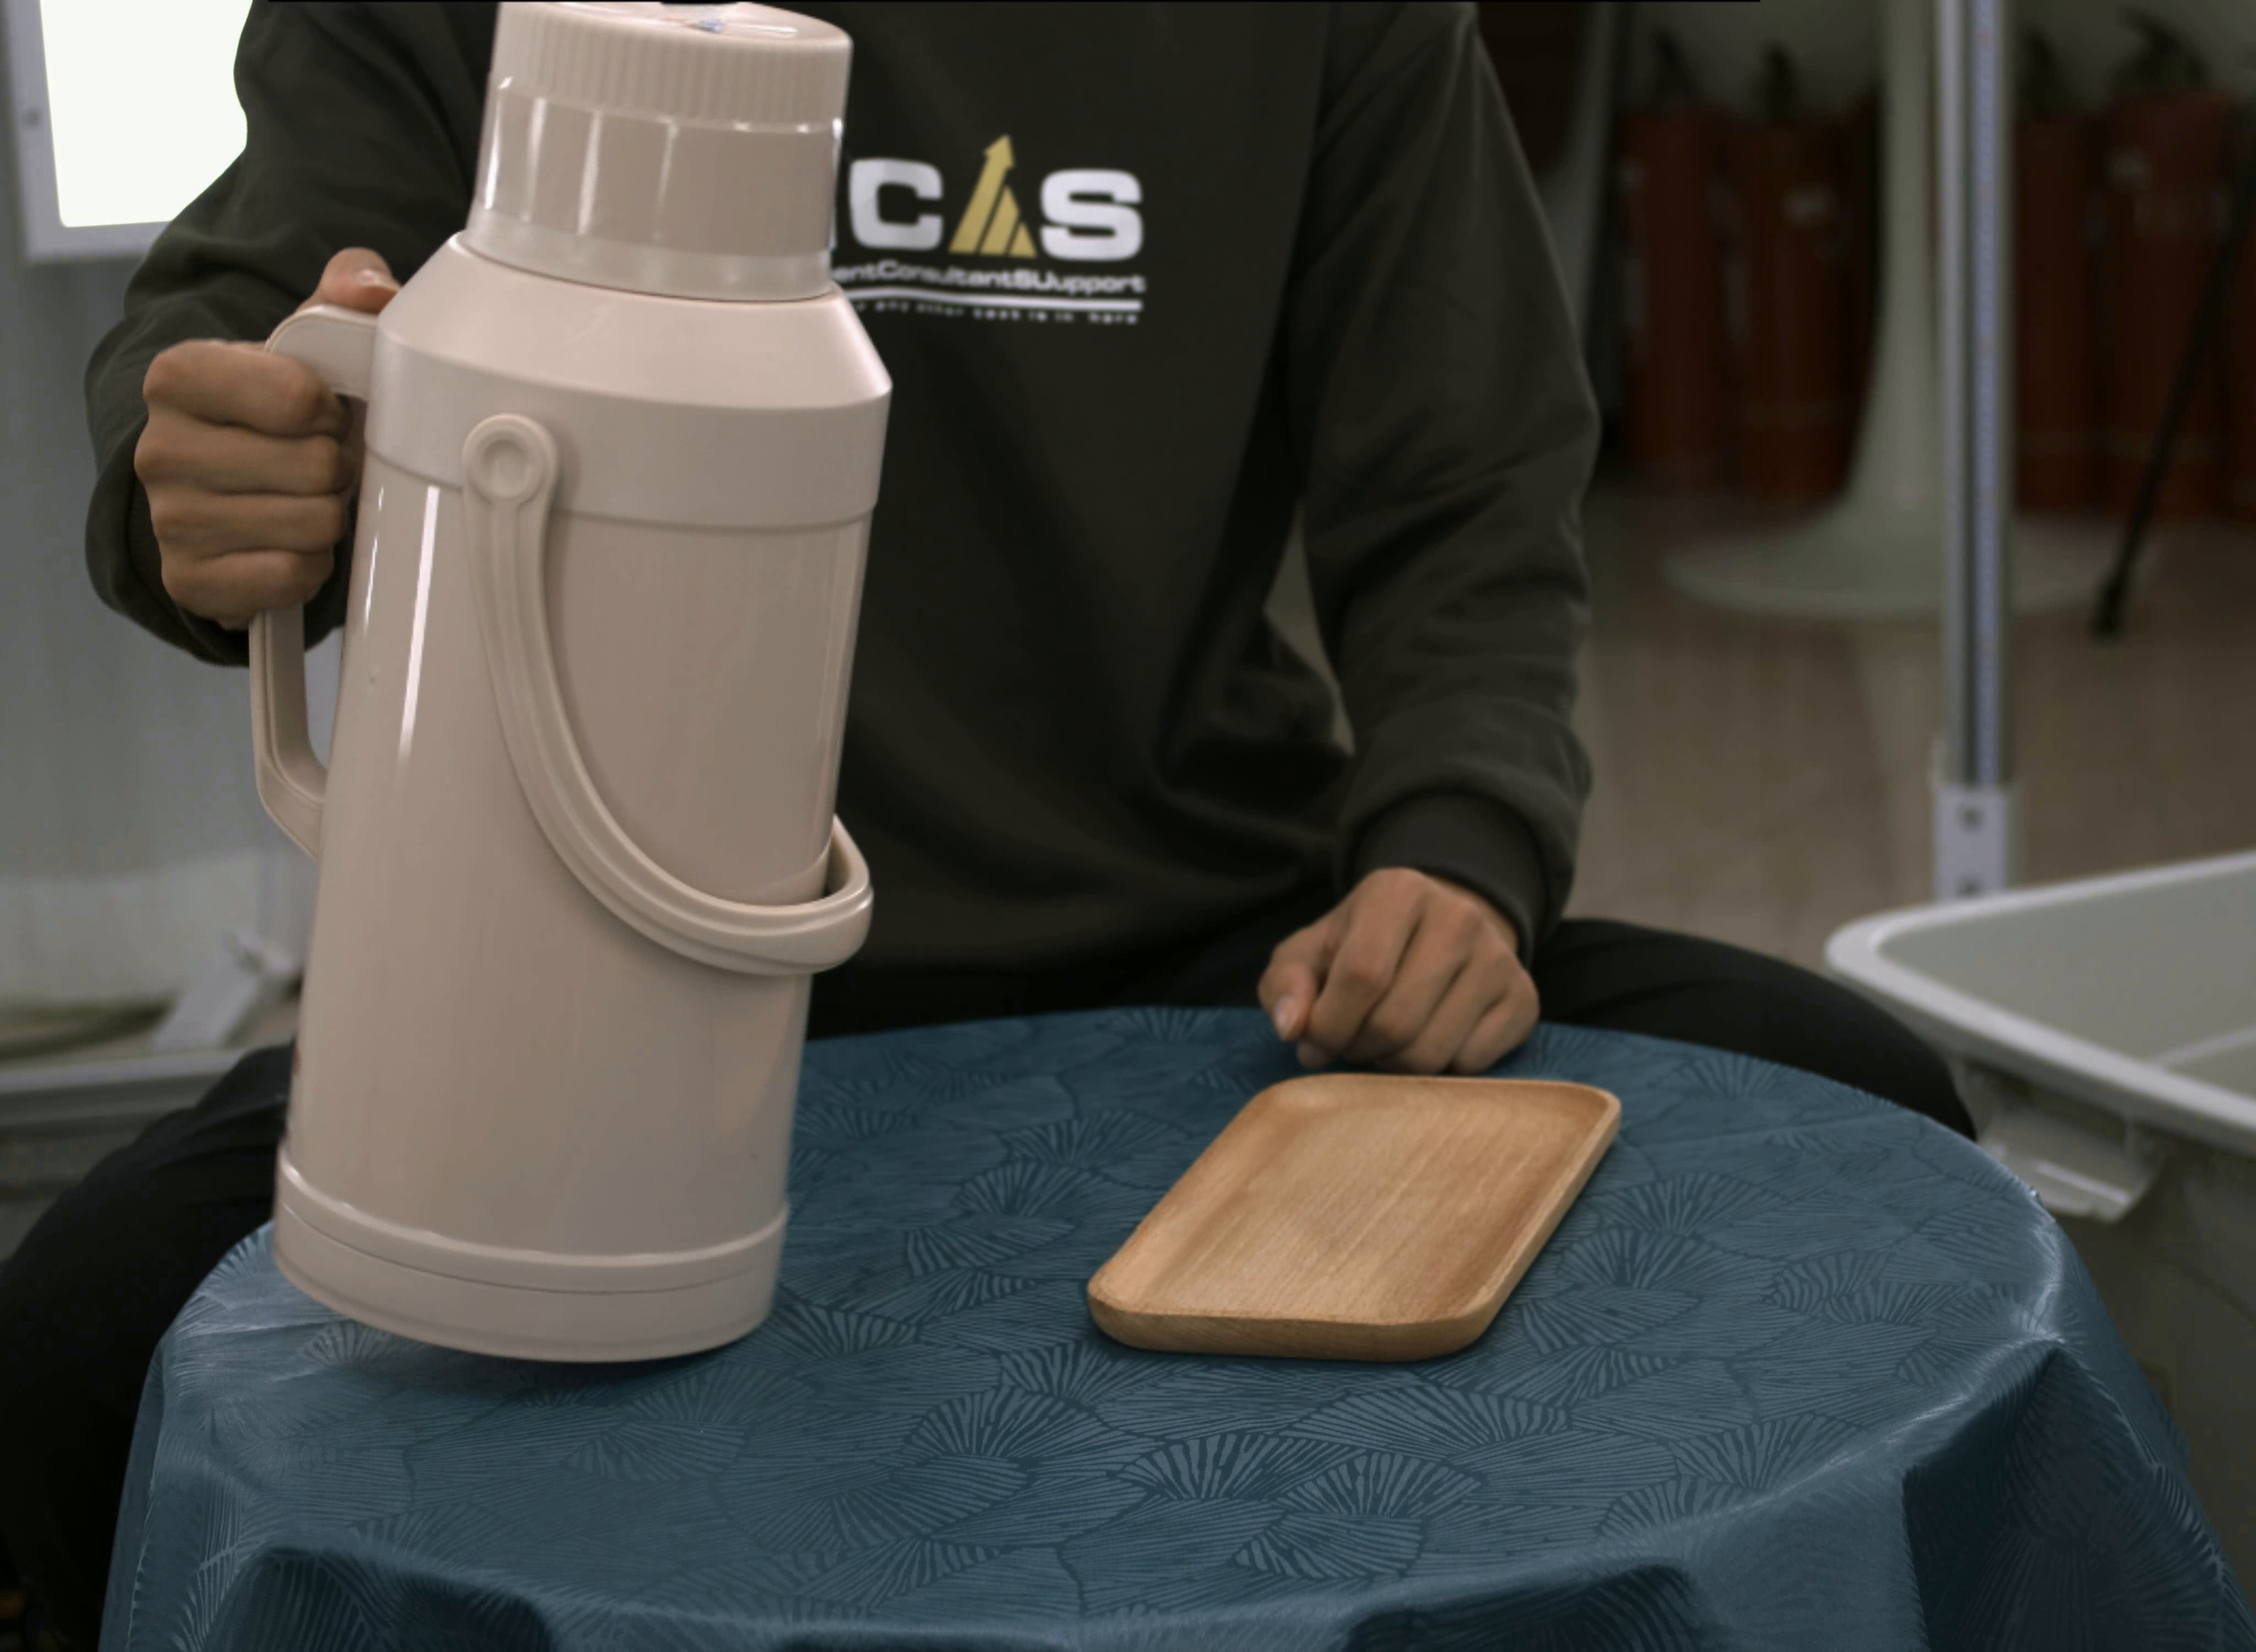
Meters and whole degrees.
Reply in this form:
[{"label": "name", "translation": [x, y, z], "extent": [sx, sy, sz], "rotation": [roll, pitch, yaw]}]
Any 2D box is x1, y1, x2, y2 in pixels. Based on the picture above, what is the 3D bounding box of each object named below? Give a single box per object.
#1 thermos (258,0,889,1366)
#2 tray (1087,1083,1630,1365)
[{"label": "thermos", "translation": [-0.172, -0.055, 1.645], "extent": [0.206, 0.411, 0.173], "rotation": [12, 15, 17]}, {"label": "tray", "translation": [0.077, 0.124, 1.713], "extent": [0.130, 0.023, 0.248], "rotation": [3, 14, 18]}]
